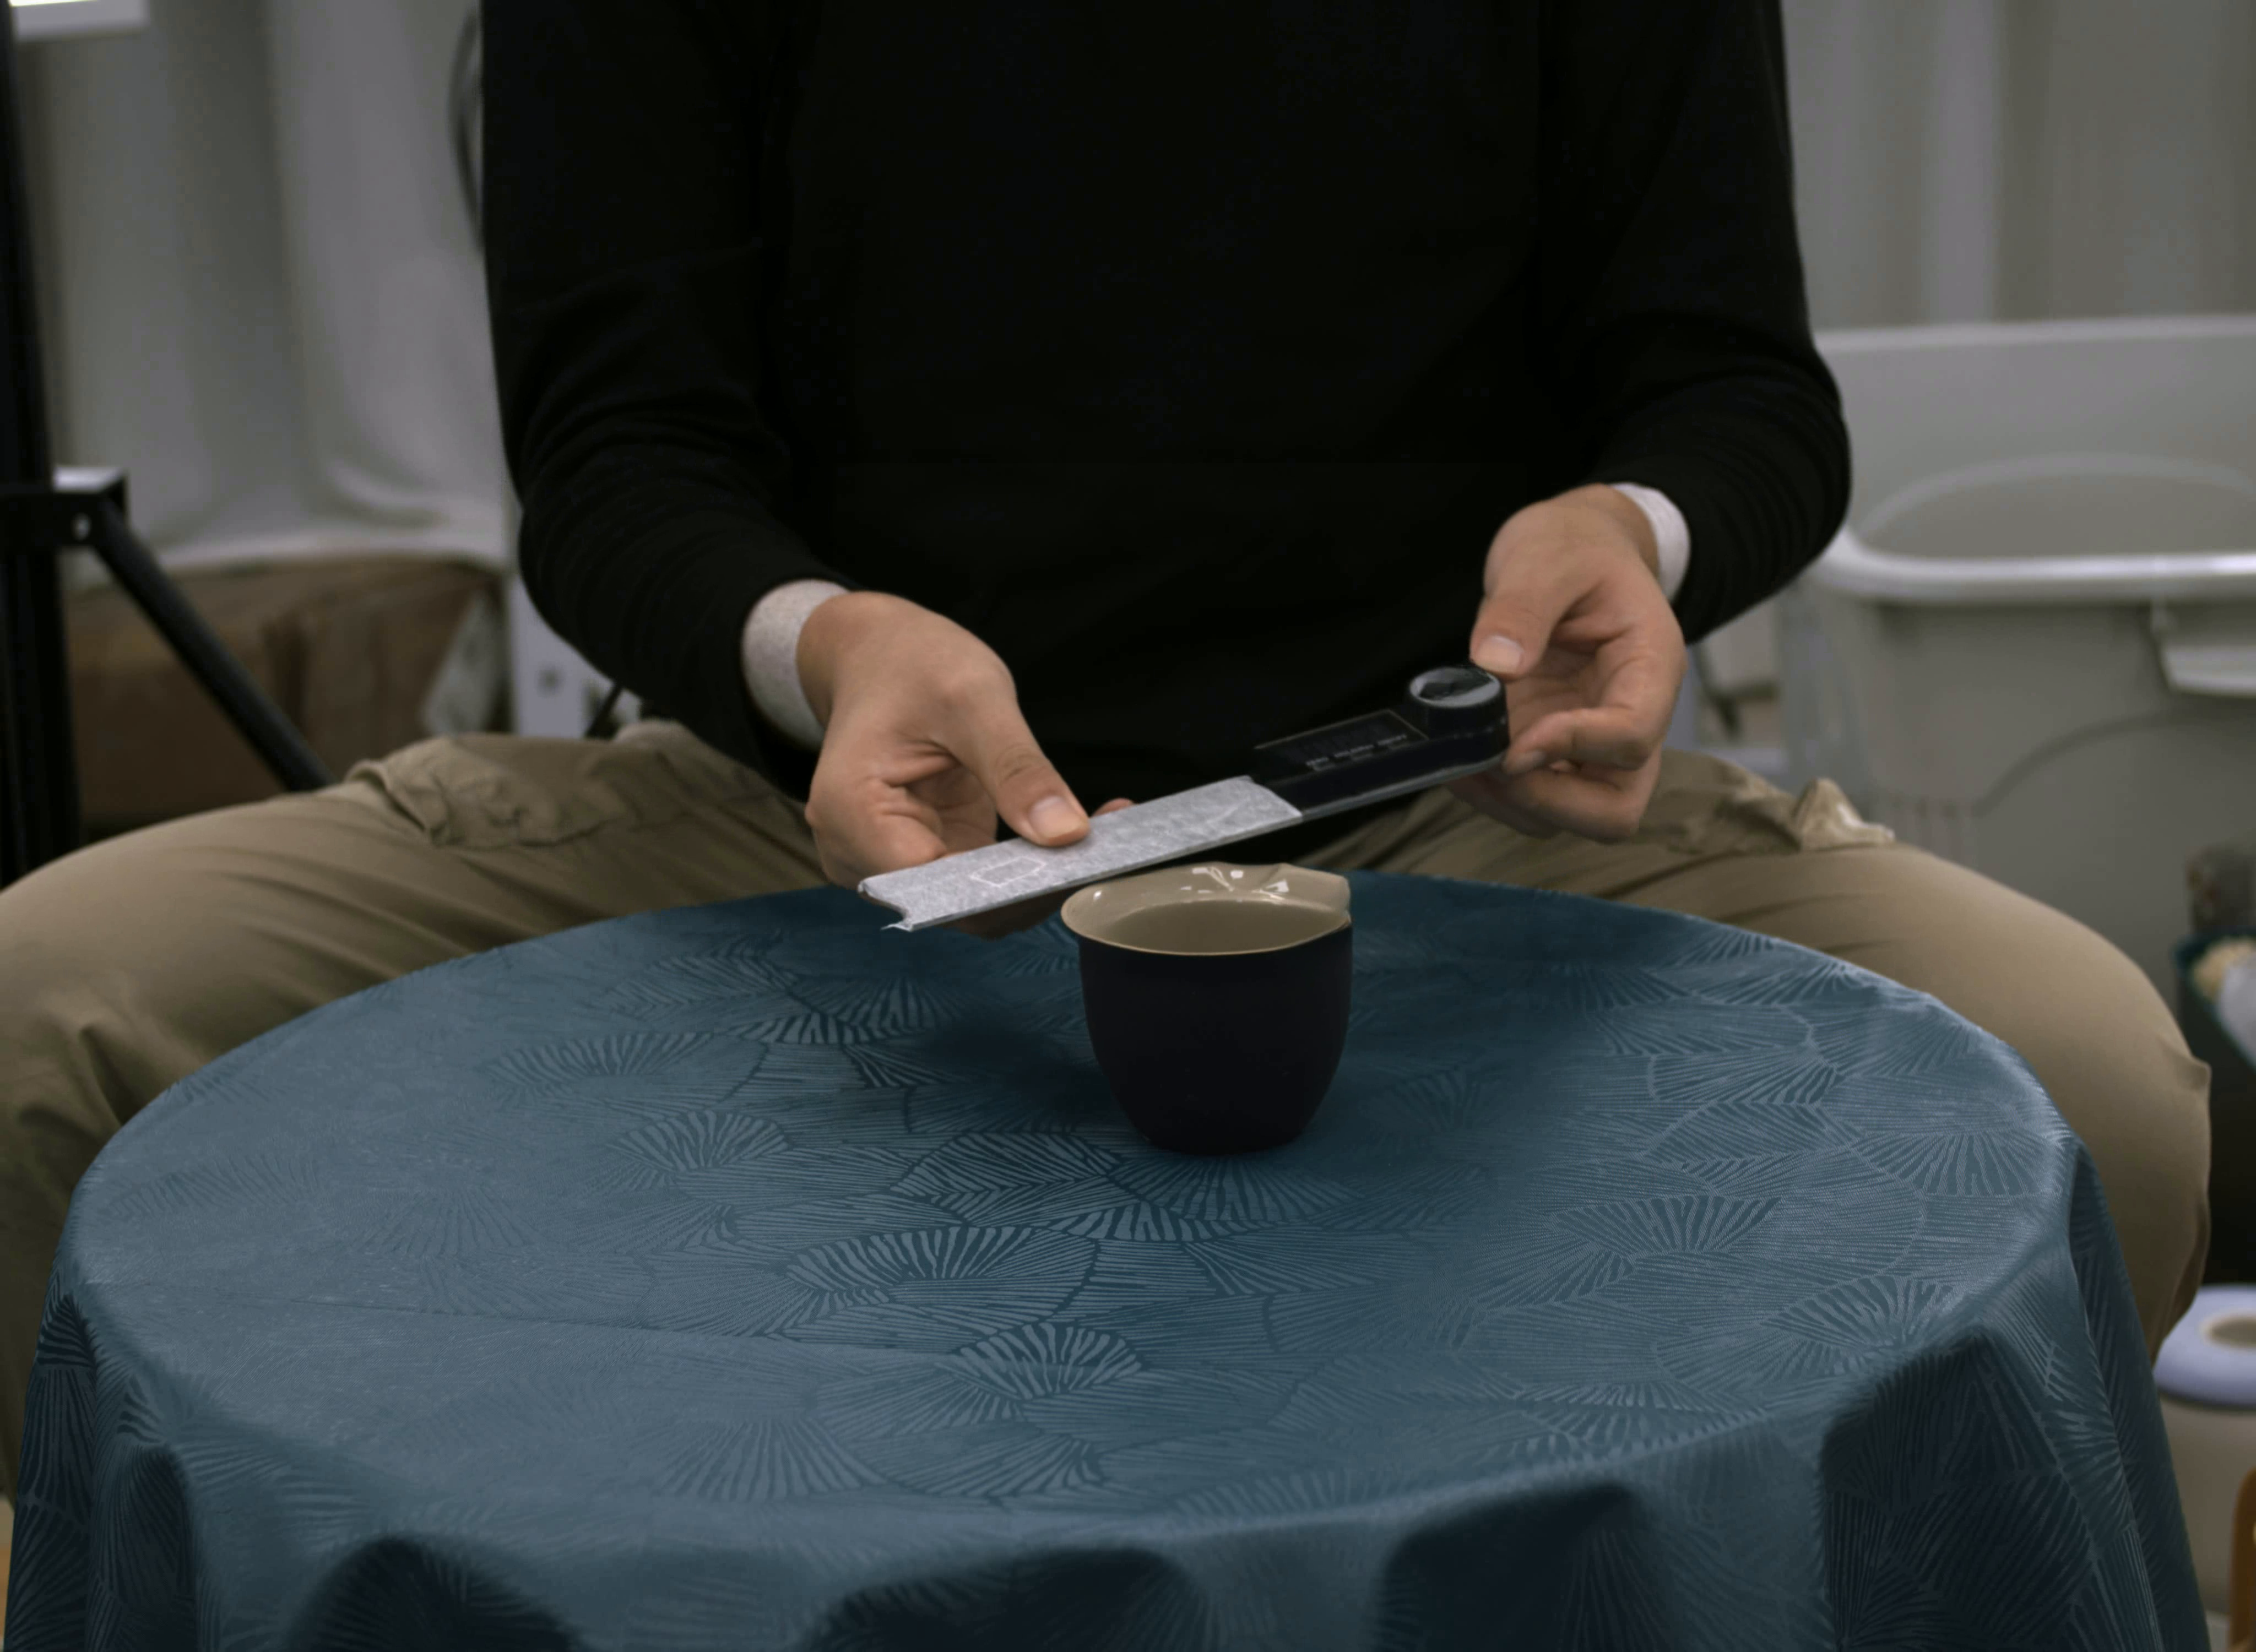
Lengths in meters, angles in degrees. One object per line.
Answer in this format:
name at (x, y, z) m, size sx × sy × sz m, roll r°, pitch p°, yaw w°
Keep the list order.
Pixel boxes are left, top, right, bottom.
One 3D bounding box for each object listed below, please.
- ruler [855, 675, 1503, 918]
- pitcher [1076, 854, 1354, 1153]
ruler at (0.020, -0.011, 1.643) m, size 0.214 × 0.024 × 0.039 m, roll -14°, pitch 20°, yaw -22°
pitcher at (0.029, 0.056, 1.603) m, size 0.084 × 0.071 × 0.095 m, roll 1°, pitch 17°, yaw 16°
